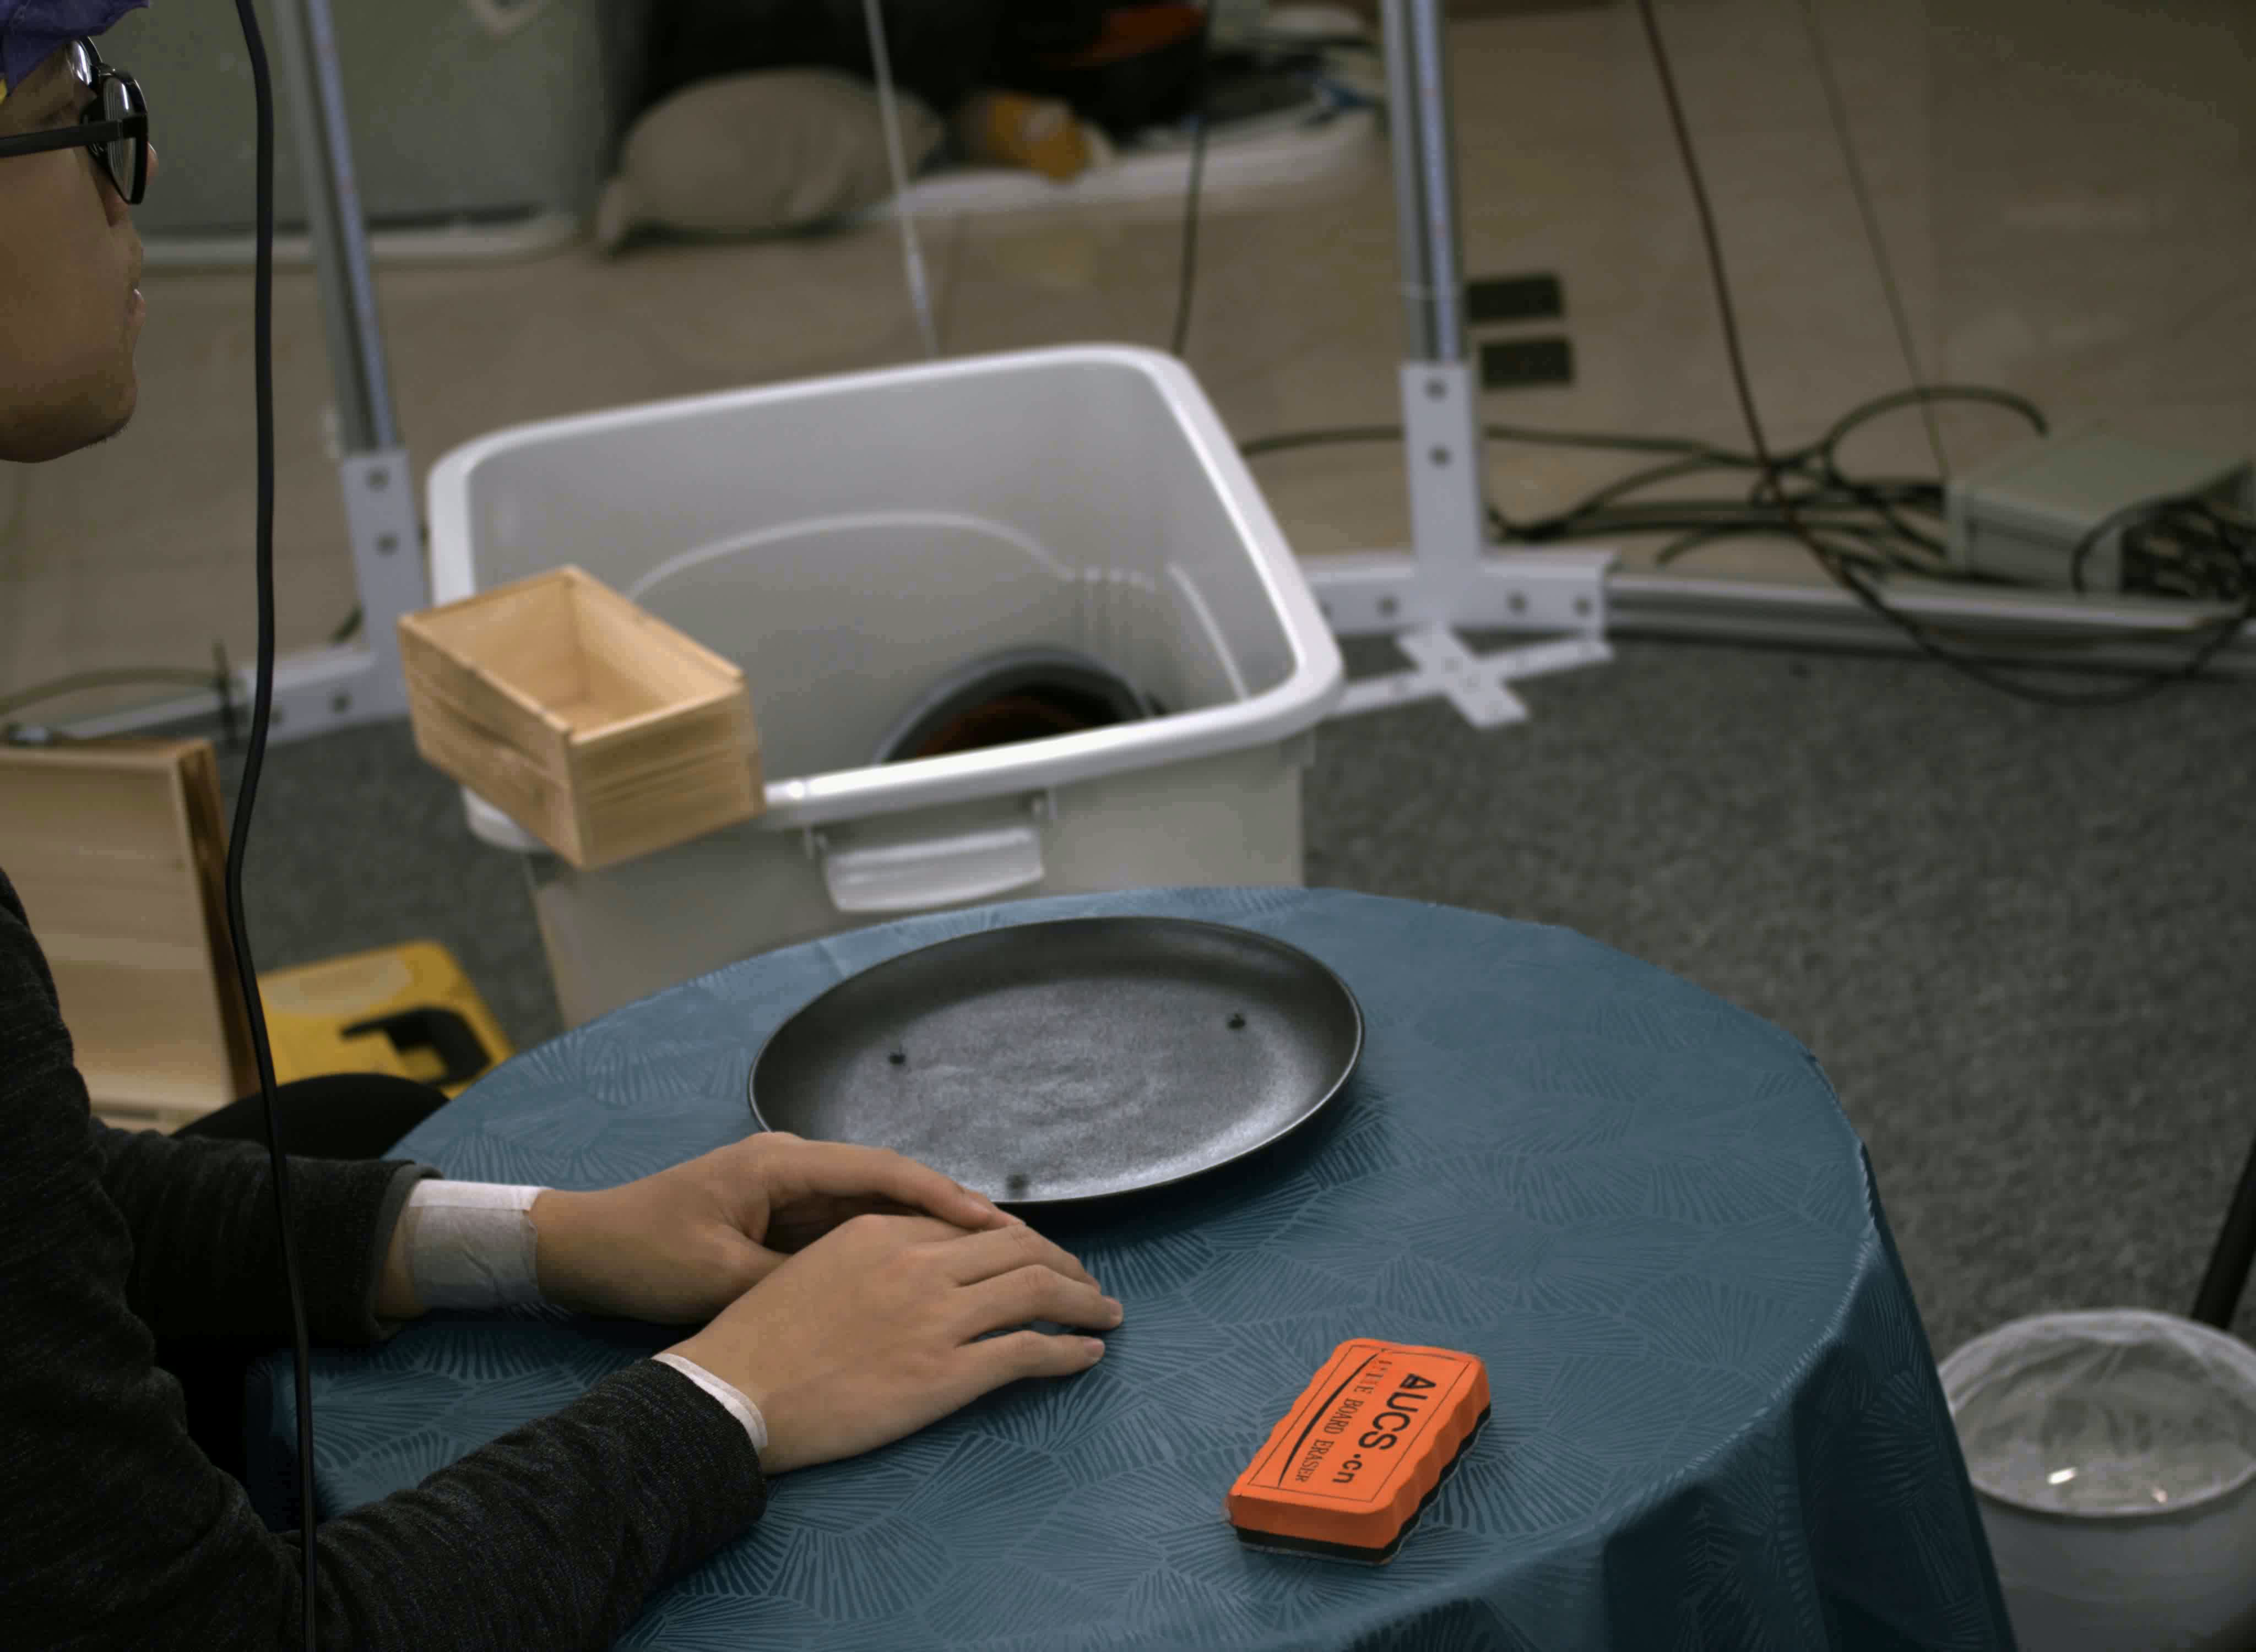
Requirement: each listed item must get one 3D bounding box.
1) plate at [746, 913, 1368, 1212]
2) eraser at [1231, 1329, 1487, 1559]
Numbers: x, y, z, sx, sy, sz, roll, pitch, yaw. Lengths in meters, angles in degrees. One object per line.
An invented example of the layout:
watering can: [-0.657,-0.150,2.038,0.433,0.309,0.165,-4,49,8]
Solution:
plate: [-0.027,0.097,2.217,0.244,0.024,0.241,-5,25,3]
eraser: [0.080,0.210,1.940,0.059,0.023,0.106,4,29,25]
